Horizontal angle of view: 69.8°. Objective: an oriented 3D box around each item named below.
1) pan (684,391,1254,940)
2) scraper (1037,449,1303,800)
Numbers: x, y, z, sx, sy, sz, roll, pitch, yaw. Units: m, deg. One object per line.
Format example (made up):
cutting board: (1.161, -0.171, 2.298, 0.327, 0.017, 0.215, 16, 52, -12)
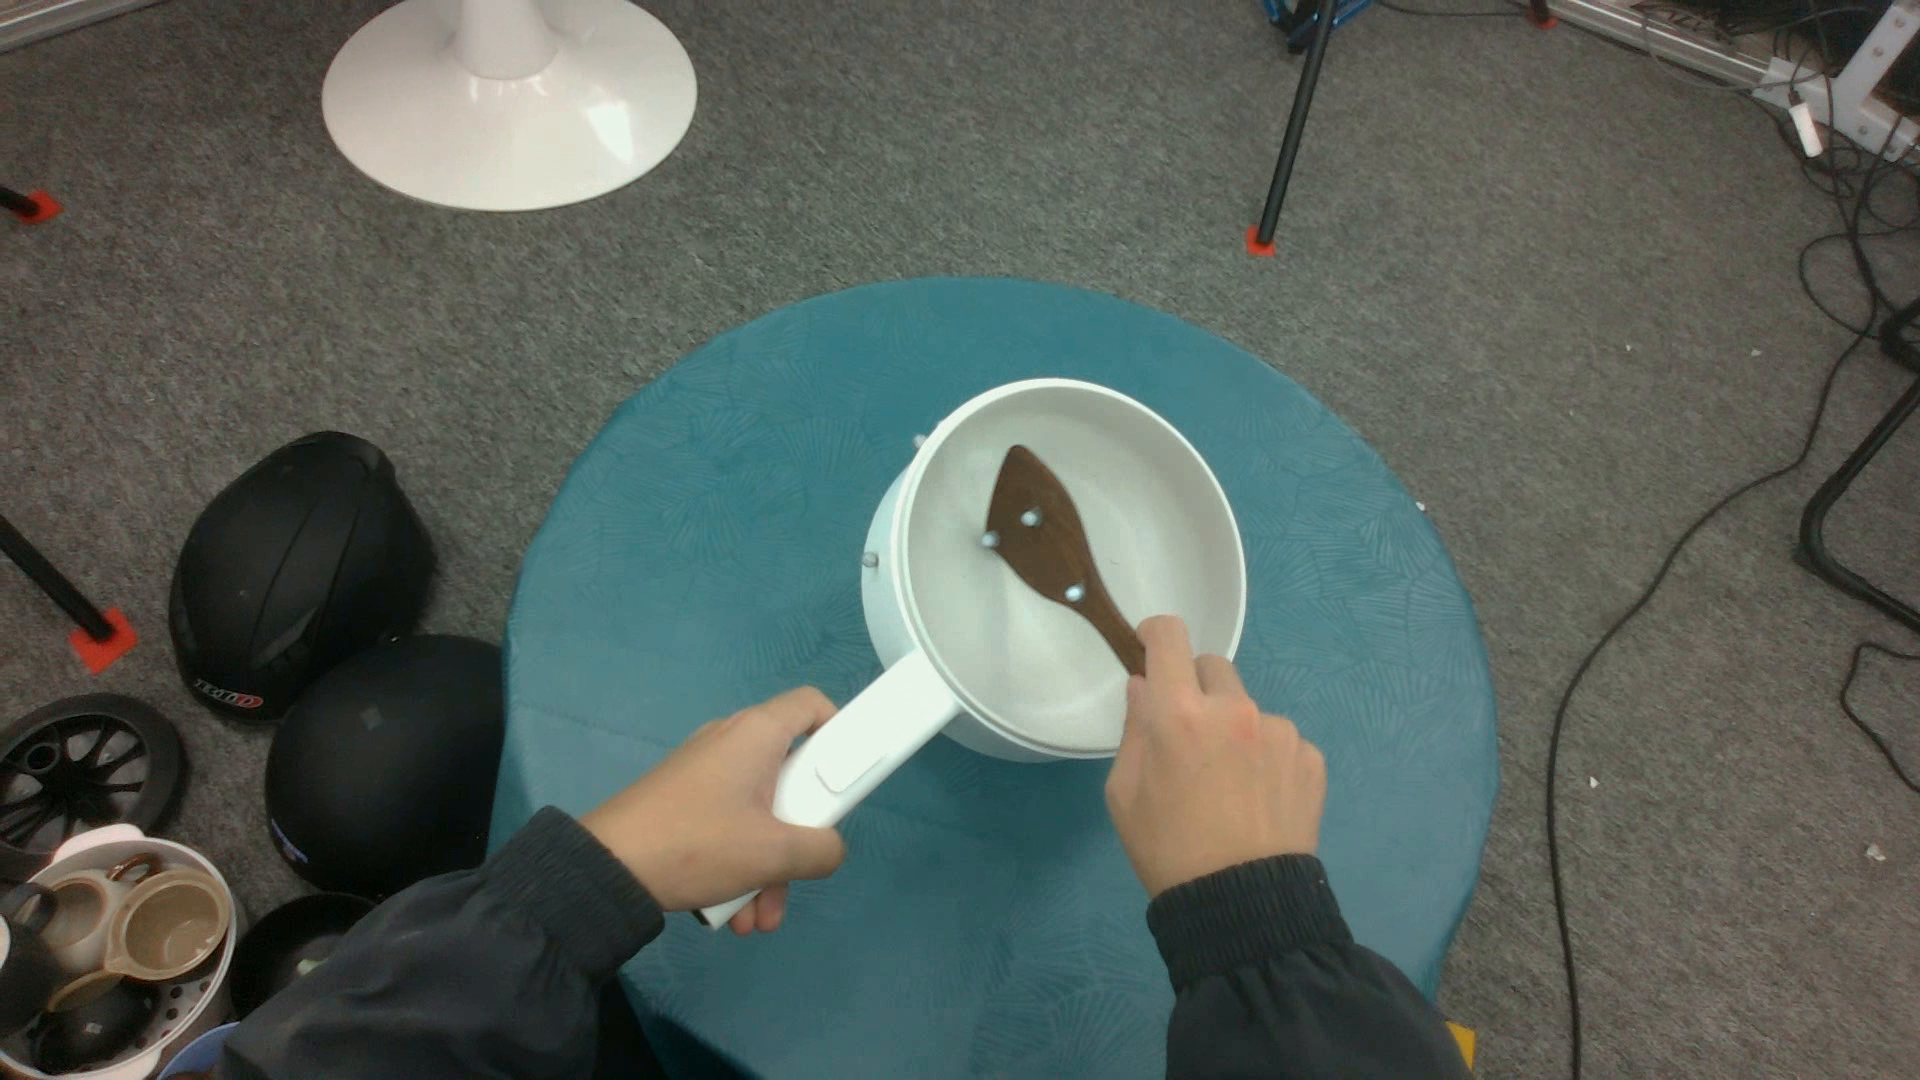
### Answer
pan: (0.000, 0.073, 0.735, 0.356, 0.101, 0.201, -41, 92, -23)
scraper: (0.103, 0.043, 0.690, 0.011, 0.075, 0.212, -7, 45, -33)
